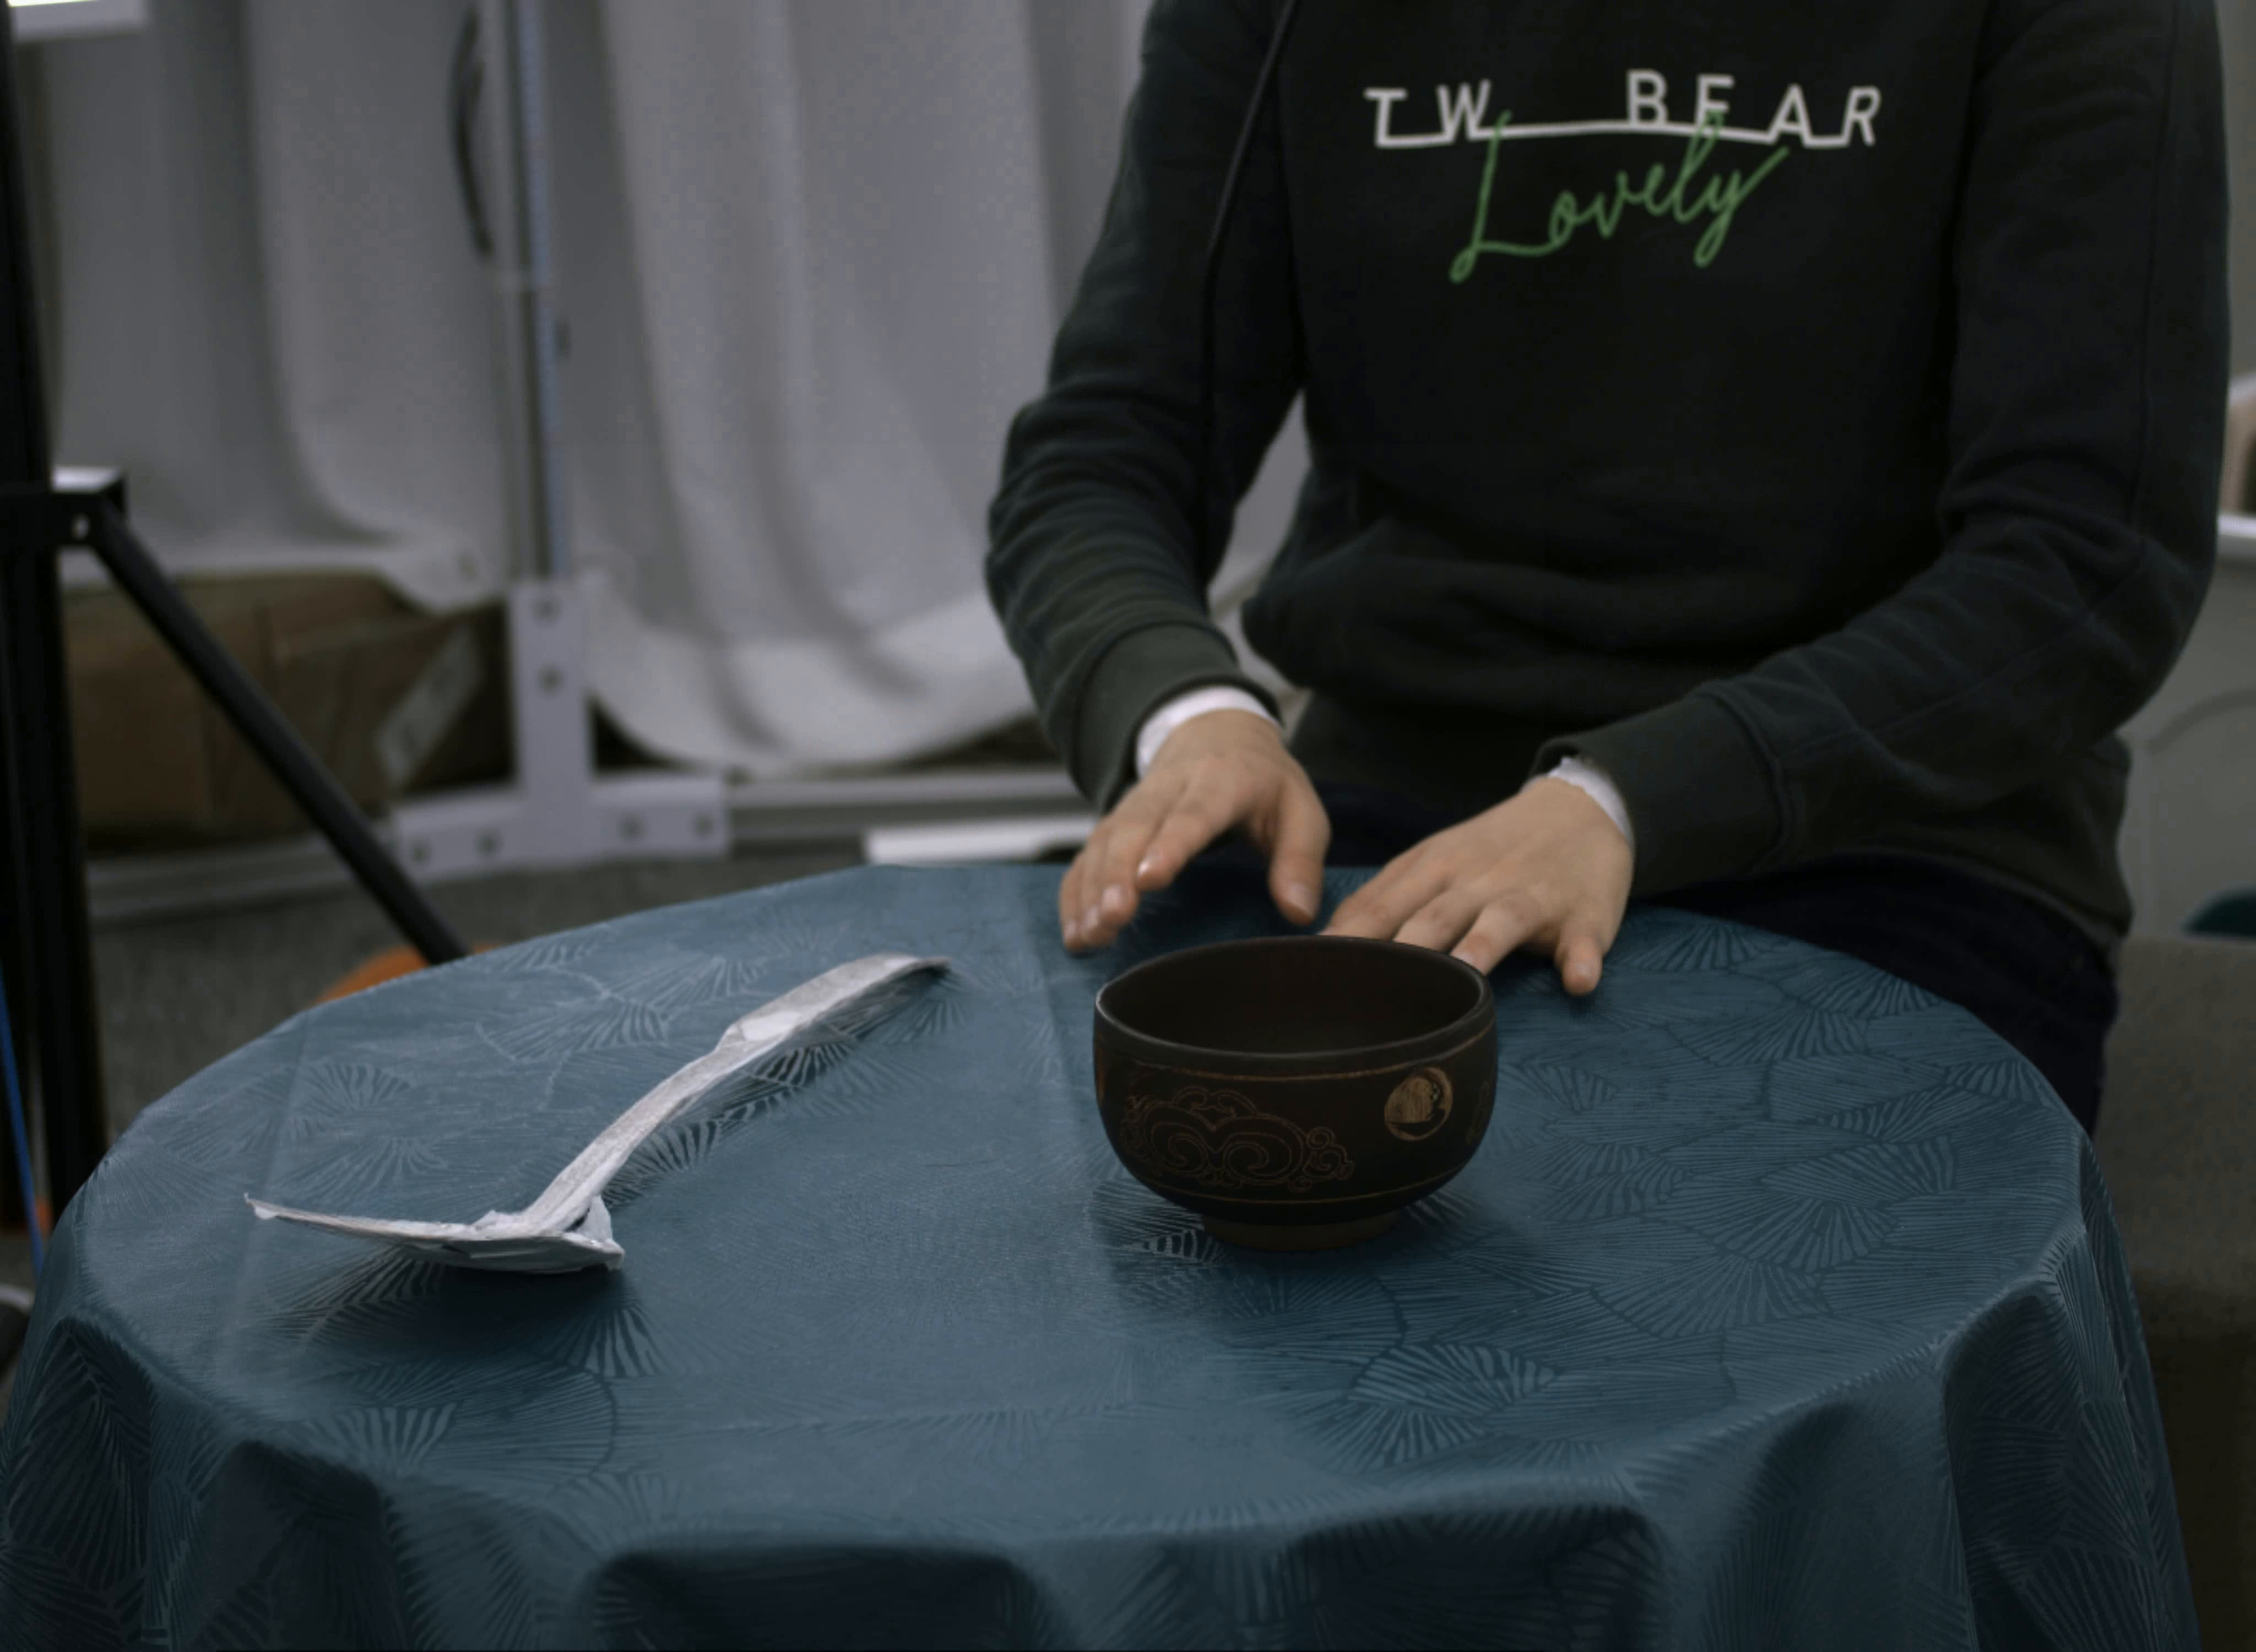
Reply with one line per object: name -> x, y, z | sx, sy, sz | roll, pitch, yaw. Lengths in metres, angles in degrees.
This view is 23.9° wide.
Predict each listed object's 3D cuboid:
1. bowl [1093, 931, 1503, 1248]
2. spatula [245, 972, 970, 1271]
bowl -> 0.049, 0.079, 1.520 | 0.117, 0.070, 0.118 | -1, 15, -1
spatula -> -0.135, 0.079, 1.611 | 0.100, 0.045, 0.360 | 2, 17, 24
